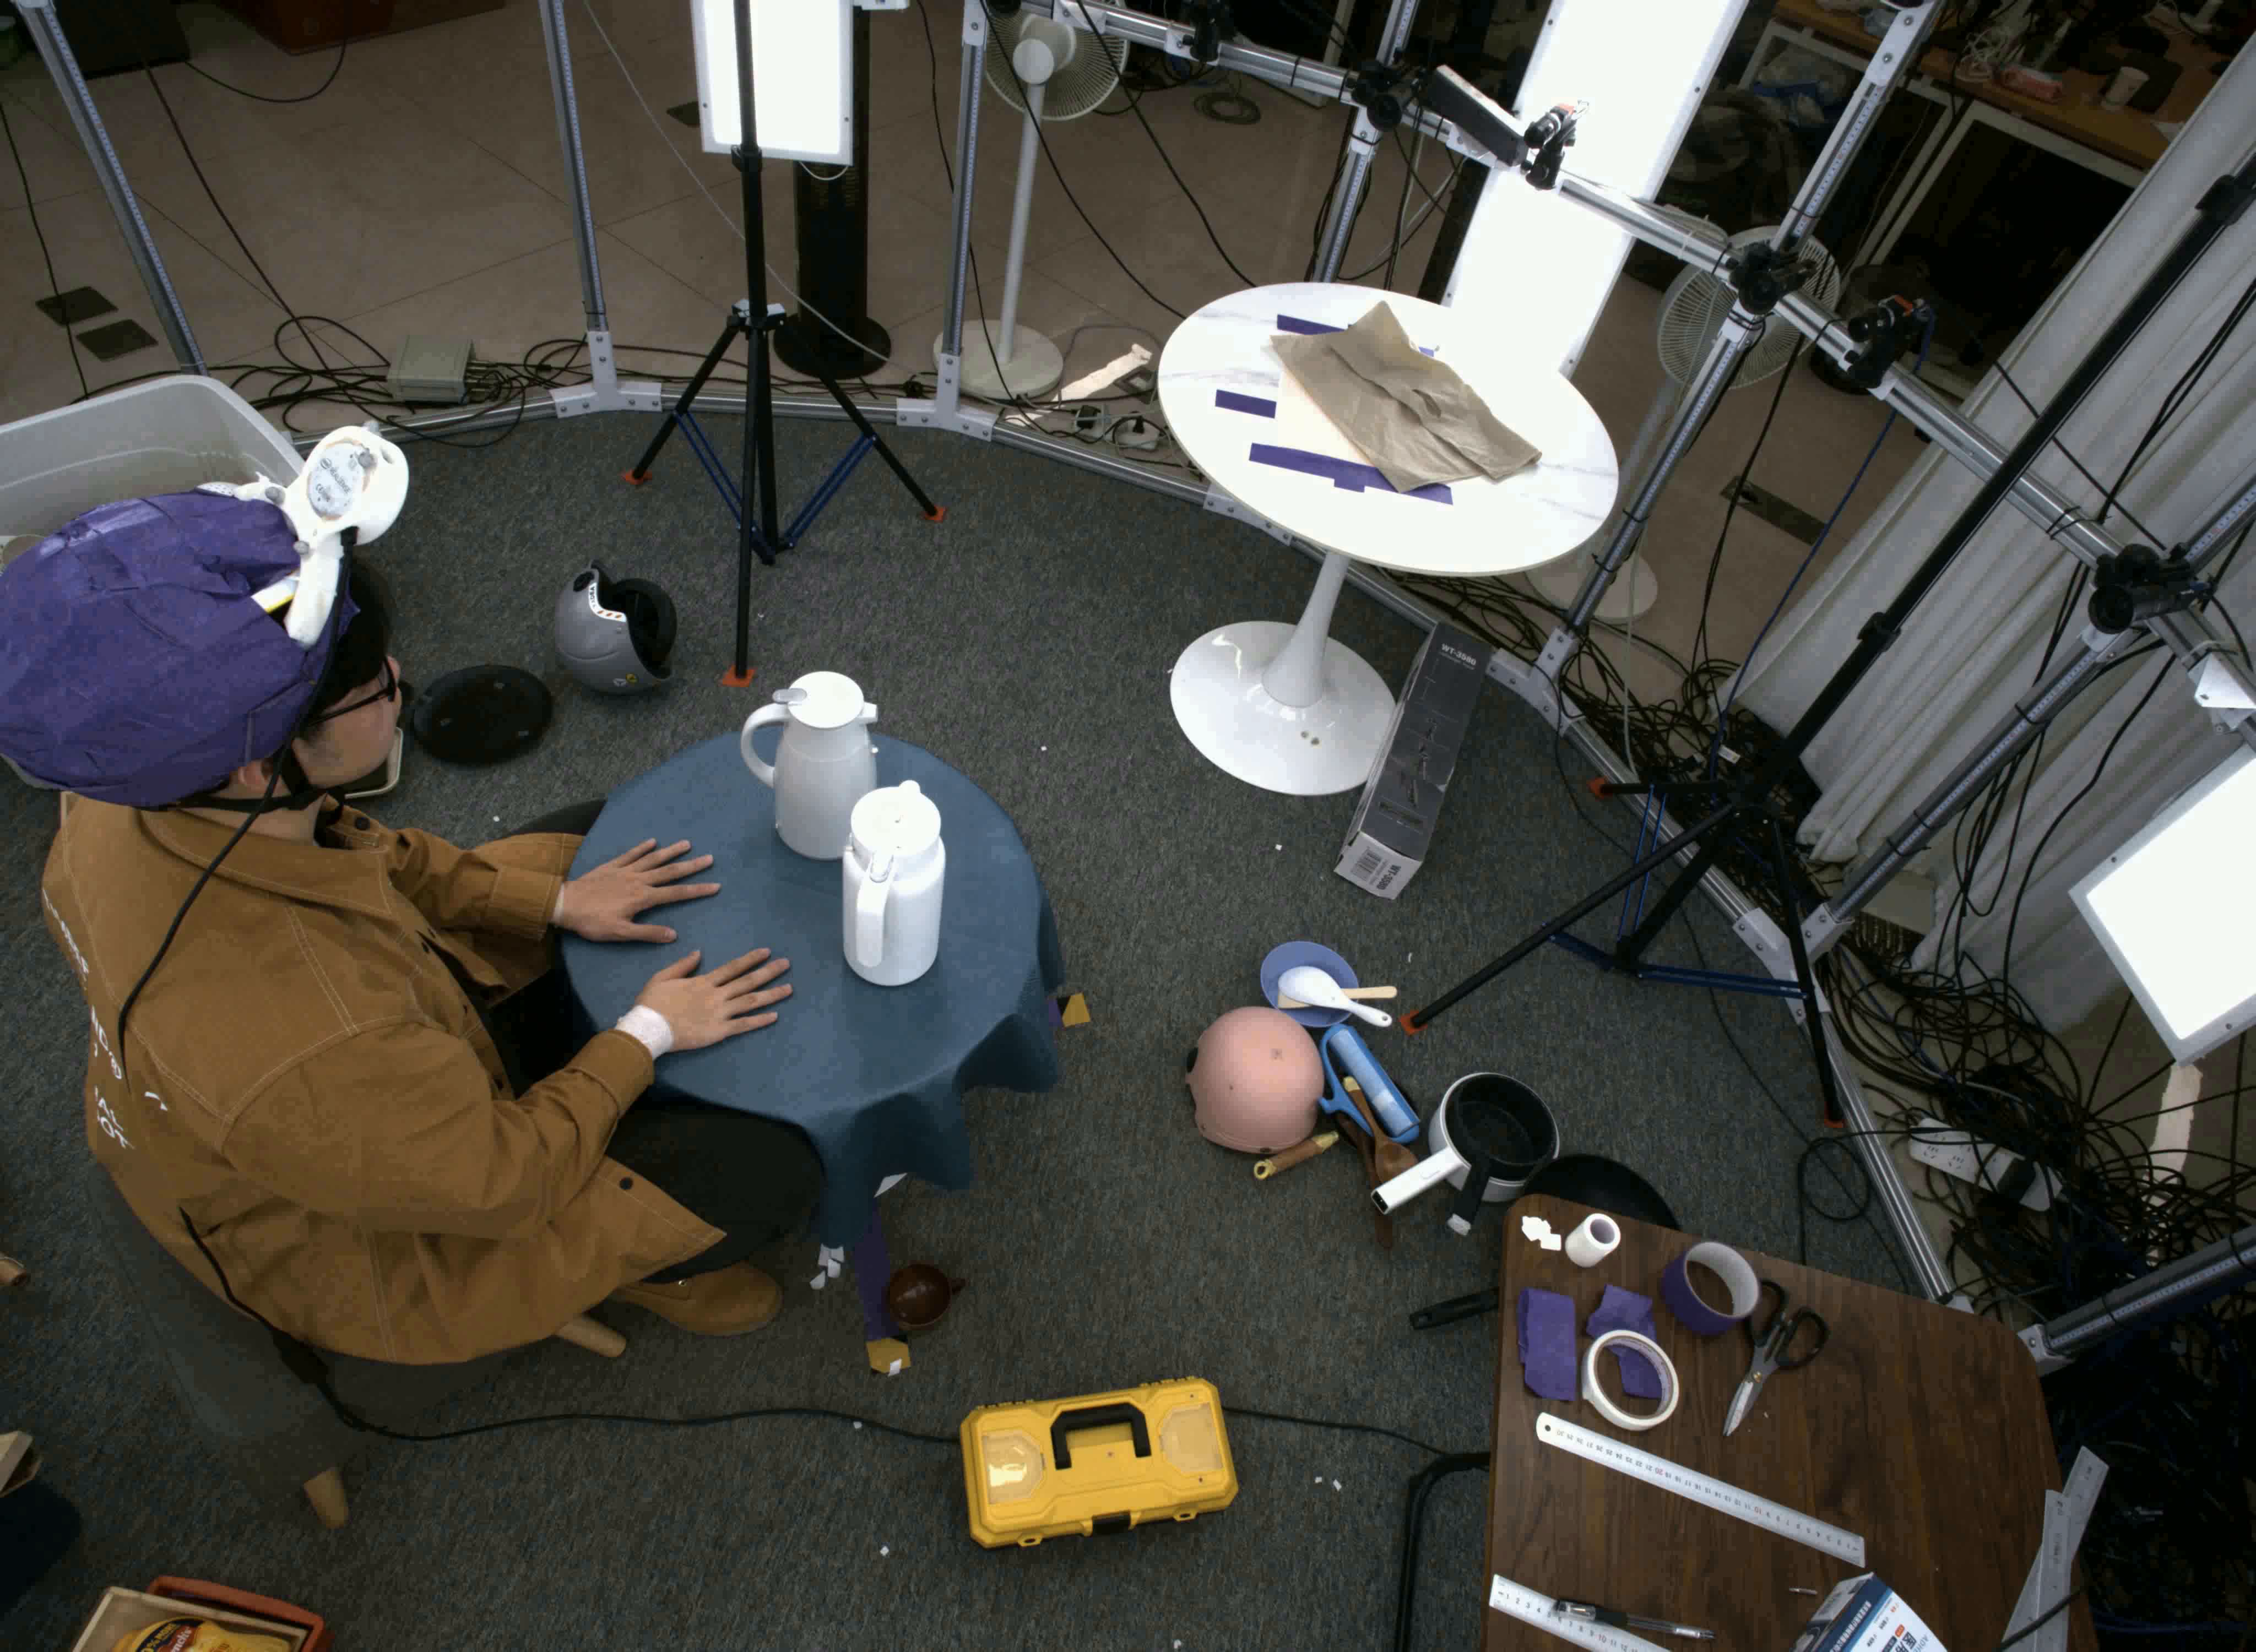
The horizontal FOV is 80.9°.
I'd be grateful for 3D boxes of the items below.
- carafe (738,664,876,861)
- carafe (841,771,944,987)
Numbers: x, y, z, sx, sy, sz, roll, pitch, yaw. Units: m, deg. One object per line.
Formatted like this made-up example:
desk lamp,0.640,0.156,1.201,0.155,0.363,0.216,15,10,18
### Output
carafe,-0.402,-0.085,1.630,0.167,0.254,0.130,1,52,-10
carafe,-0.279,0.084,1.523,0.123,0.274,0.170,13,51,-3
